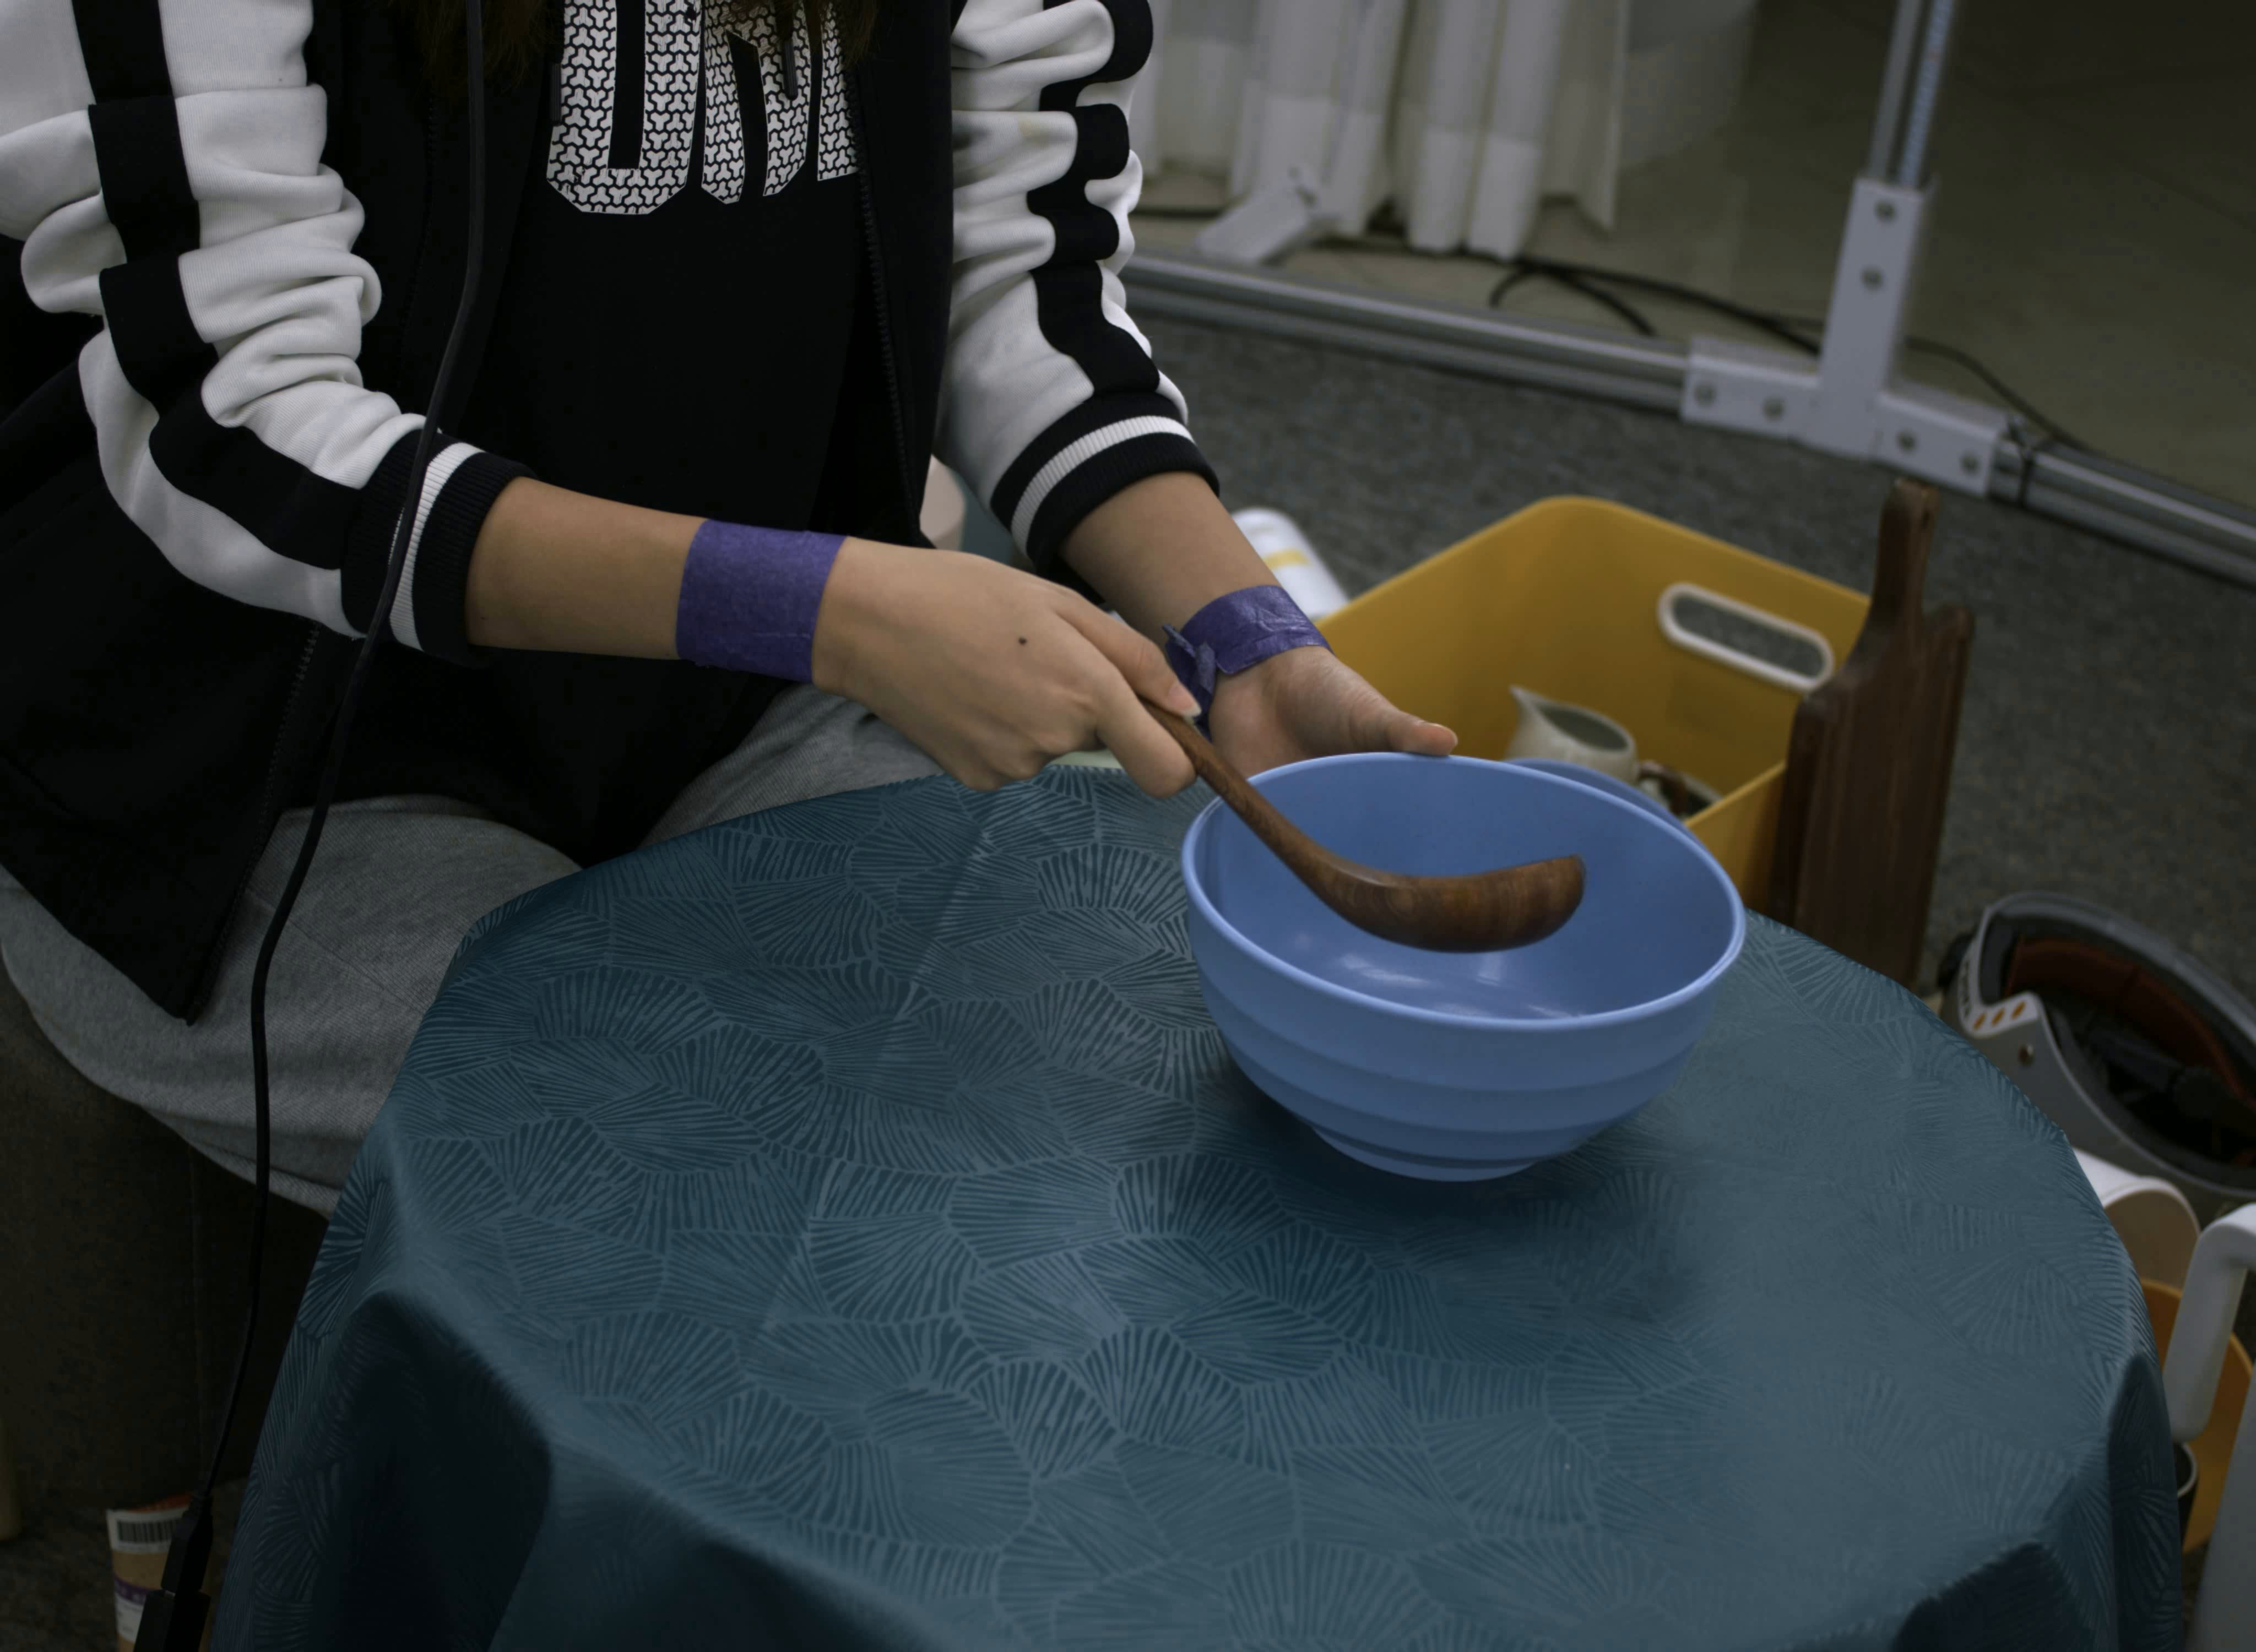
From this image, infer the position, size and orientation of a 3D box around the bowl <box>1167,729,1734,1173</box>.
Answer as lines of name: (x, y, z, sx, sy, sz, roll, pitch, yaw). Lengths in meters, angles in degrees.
bowl: (0.108, 0.057, 1.855, 0.196, 0.095, 0.198, 3, 33, -2)

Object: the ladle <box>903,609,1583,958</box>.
ladle: (0.040, -0.027, 1.848, 0.261, 0.065, 0.076, 33, 4, 17)
